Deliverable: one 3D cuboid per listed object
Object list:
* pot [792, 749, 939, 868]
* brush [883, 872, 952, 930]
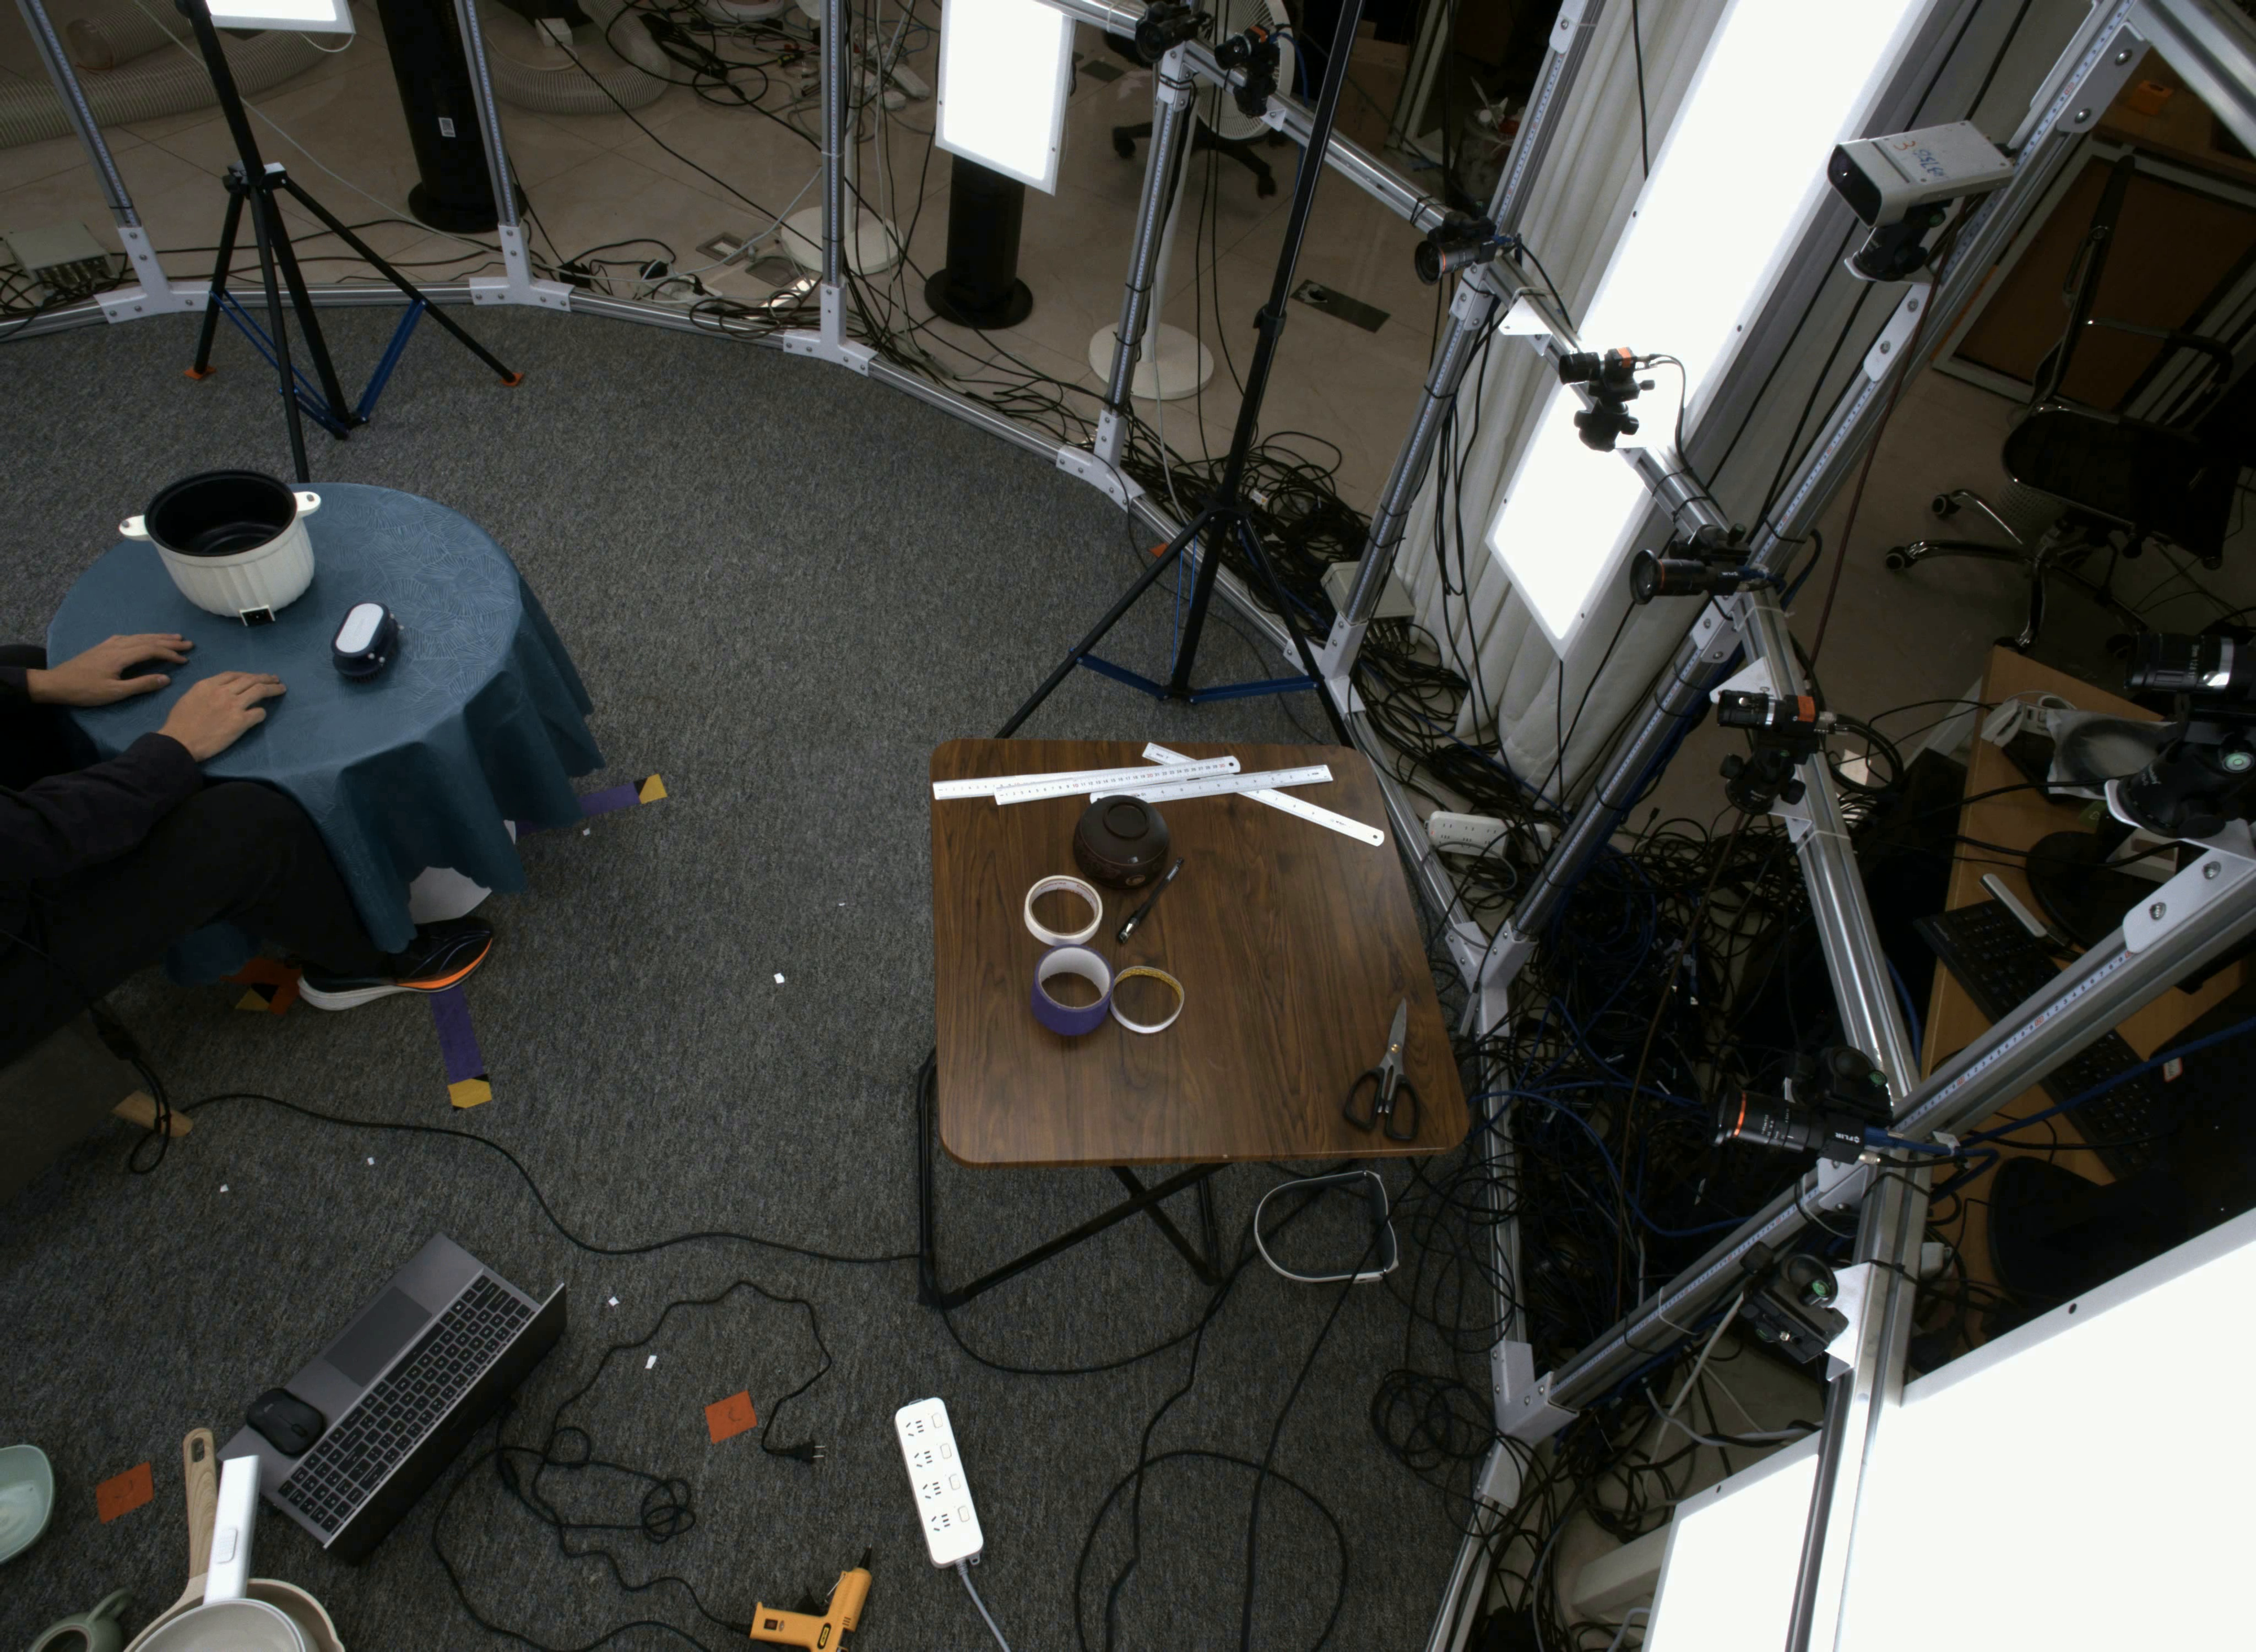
[{"bbox_3d":[-0.428,-0.032,2.113,0.238,0.146,0.187,8,26,-1],"label":"pot"},{"bbox_3d":[-0.313,0.112,1.946,0.065,0.063,0.123,24,25,29],"label":"brush"}]
